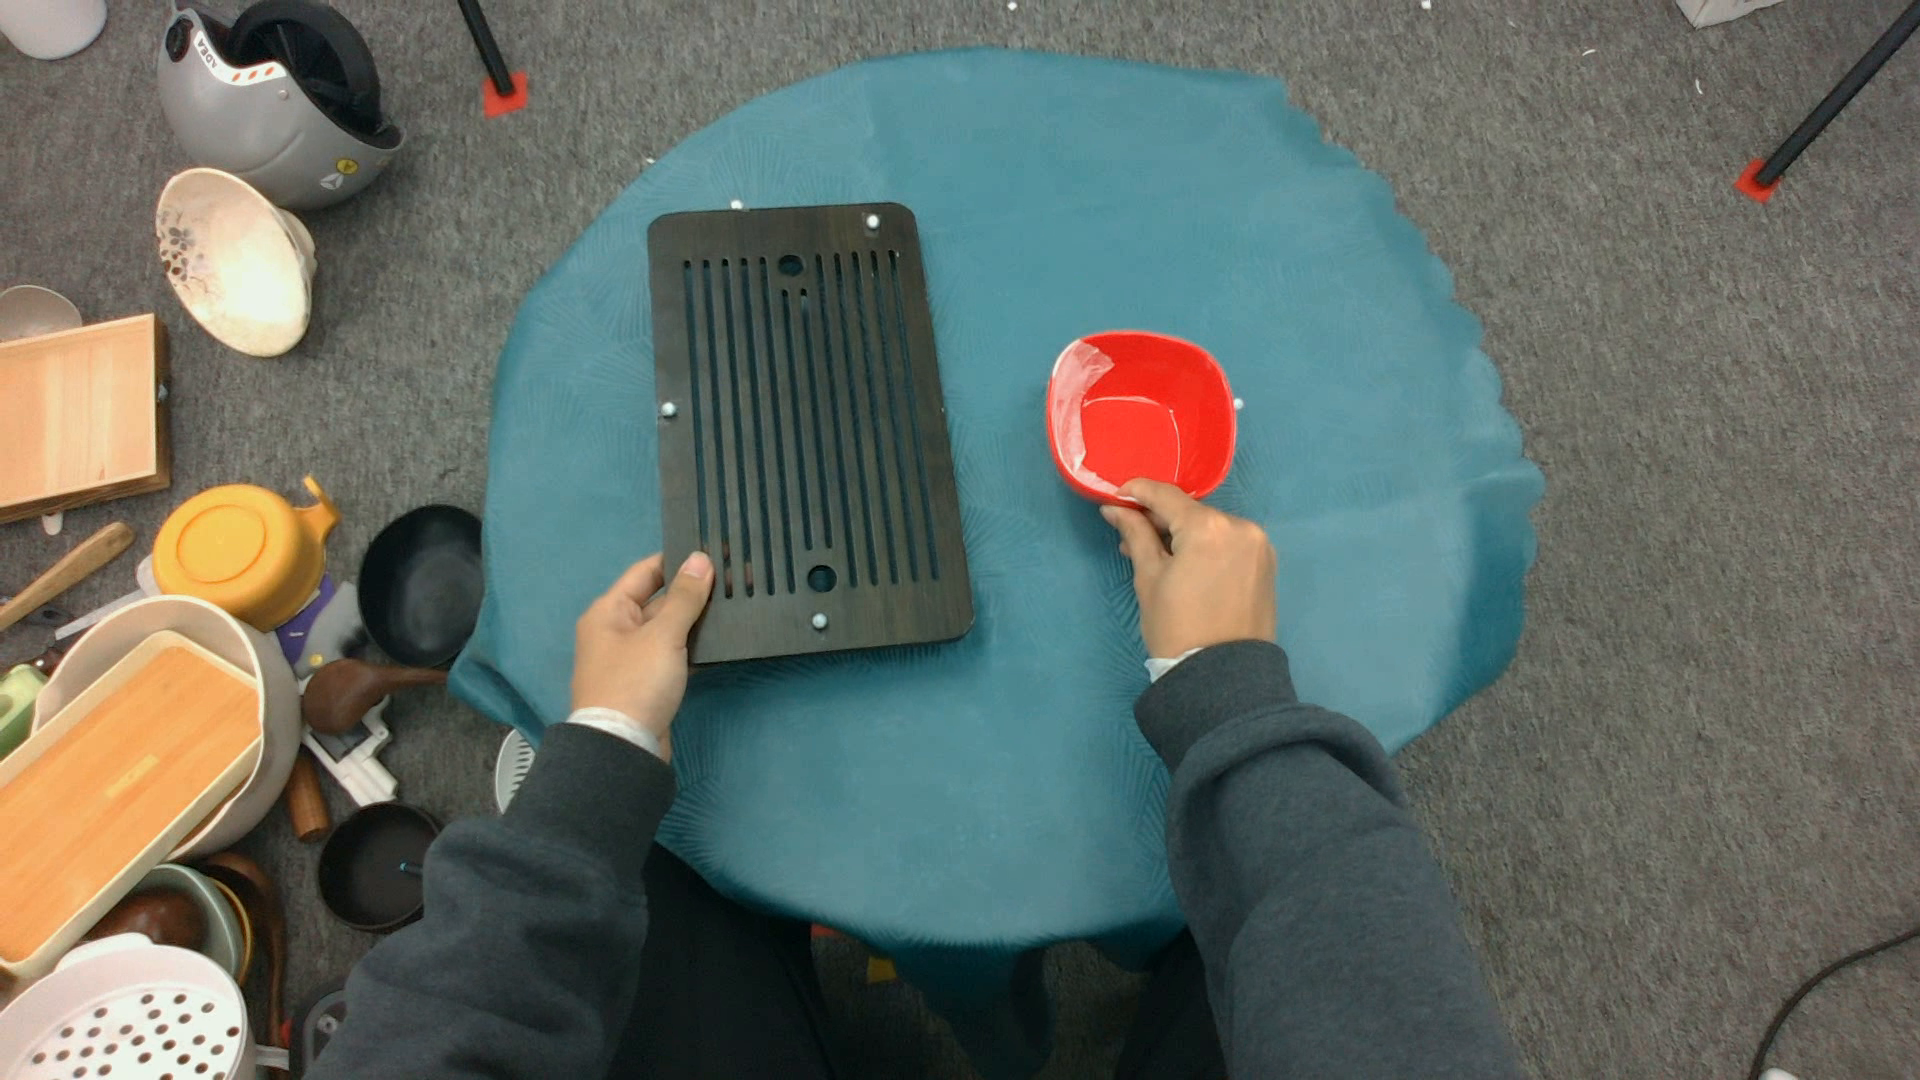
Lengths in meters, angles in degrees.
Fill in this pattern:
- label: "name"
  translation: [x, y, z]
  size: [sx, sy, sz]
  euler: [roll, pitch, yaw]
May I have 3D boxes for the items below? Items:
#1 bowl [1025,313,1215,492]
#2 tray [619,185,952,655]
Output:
- label: "bowl"
  translation: [0.089, -0.072, 0.805]
  size: [0.119, 0.051, 0.119]
  euler: [3, 67, -7]
- label: "tray"
  translation: [-0.109, -0.081, 0.816]
  size: [0.170, 0.018, 0.307]
  euler: [-5, 65, -9]
